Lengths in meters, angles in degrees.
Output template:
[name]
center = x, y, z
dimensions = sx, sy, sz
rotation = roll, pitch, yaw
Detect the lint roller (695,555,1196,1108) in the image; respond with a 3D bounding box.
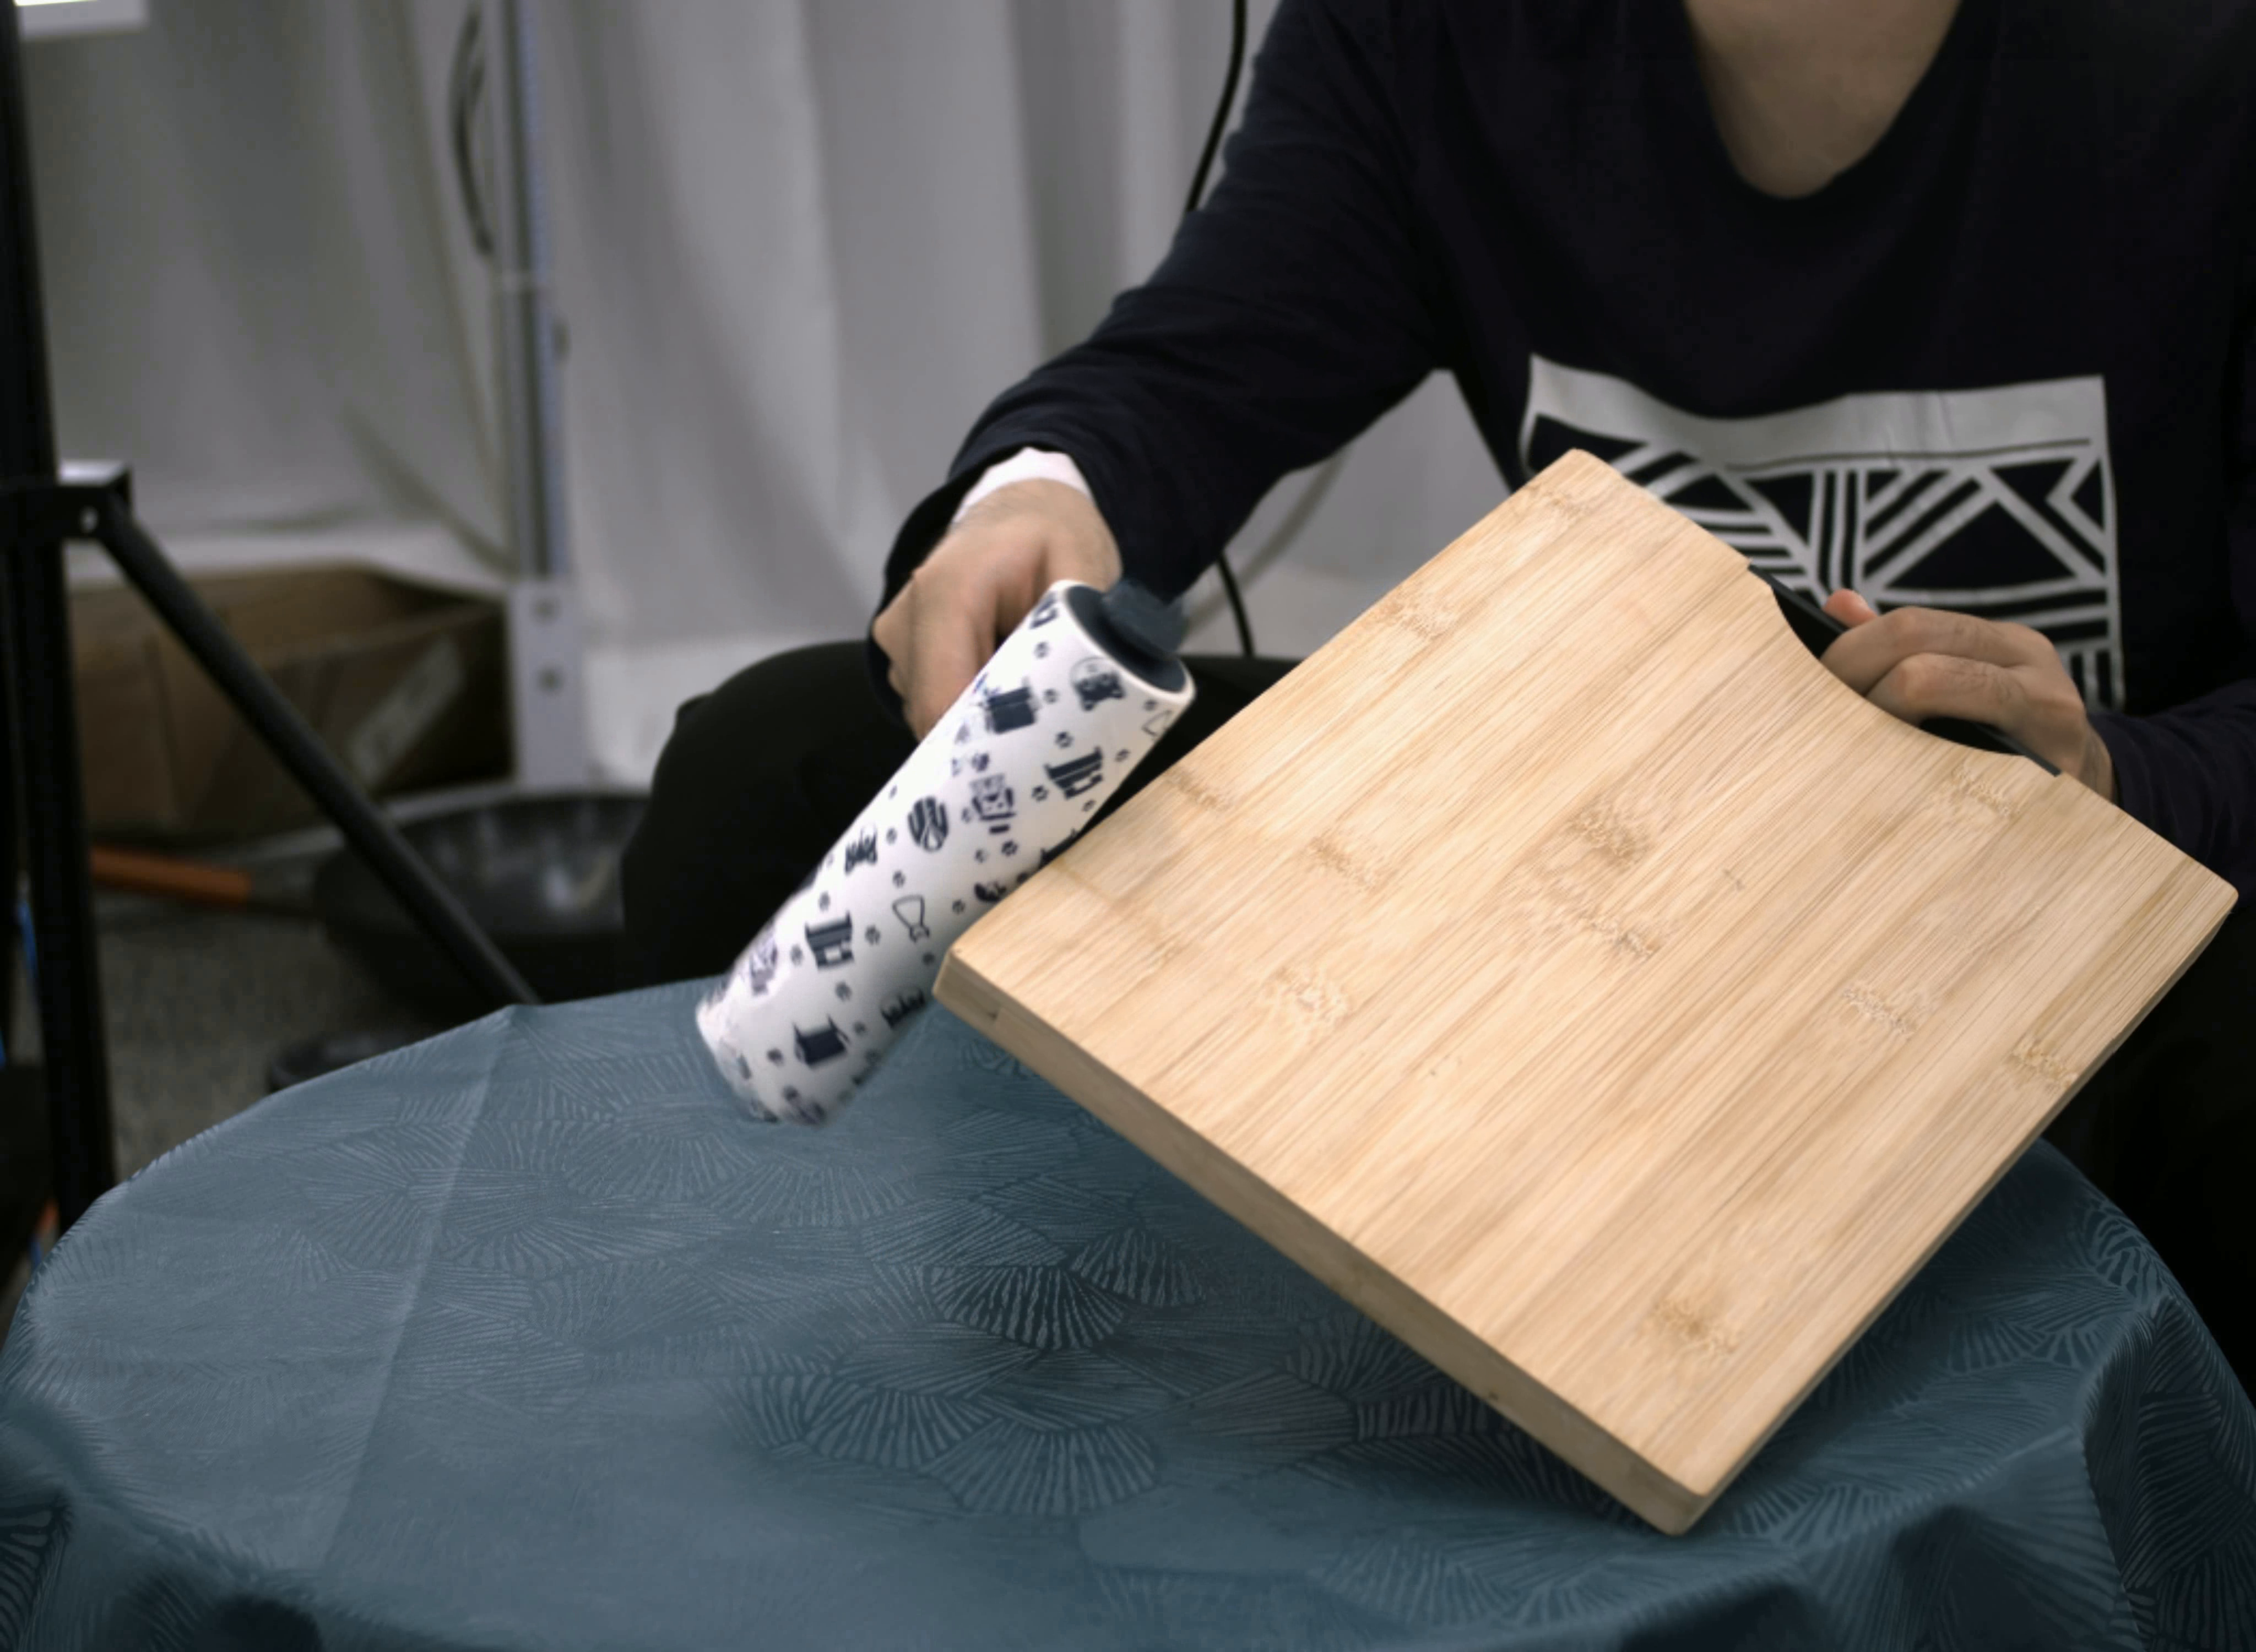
[lint roller]
center = -0.037, -0.023, 1.511
dimensions = 0.050, 0.177, 0.246
rotation = 40, 17, -5

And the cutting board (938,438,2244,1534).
[cutting board]
center = 0.137, 0.029, 1.452
dimensions = 0.253, 0.023, 0.343
rotation = 35, 42, 15
